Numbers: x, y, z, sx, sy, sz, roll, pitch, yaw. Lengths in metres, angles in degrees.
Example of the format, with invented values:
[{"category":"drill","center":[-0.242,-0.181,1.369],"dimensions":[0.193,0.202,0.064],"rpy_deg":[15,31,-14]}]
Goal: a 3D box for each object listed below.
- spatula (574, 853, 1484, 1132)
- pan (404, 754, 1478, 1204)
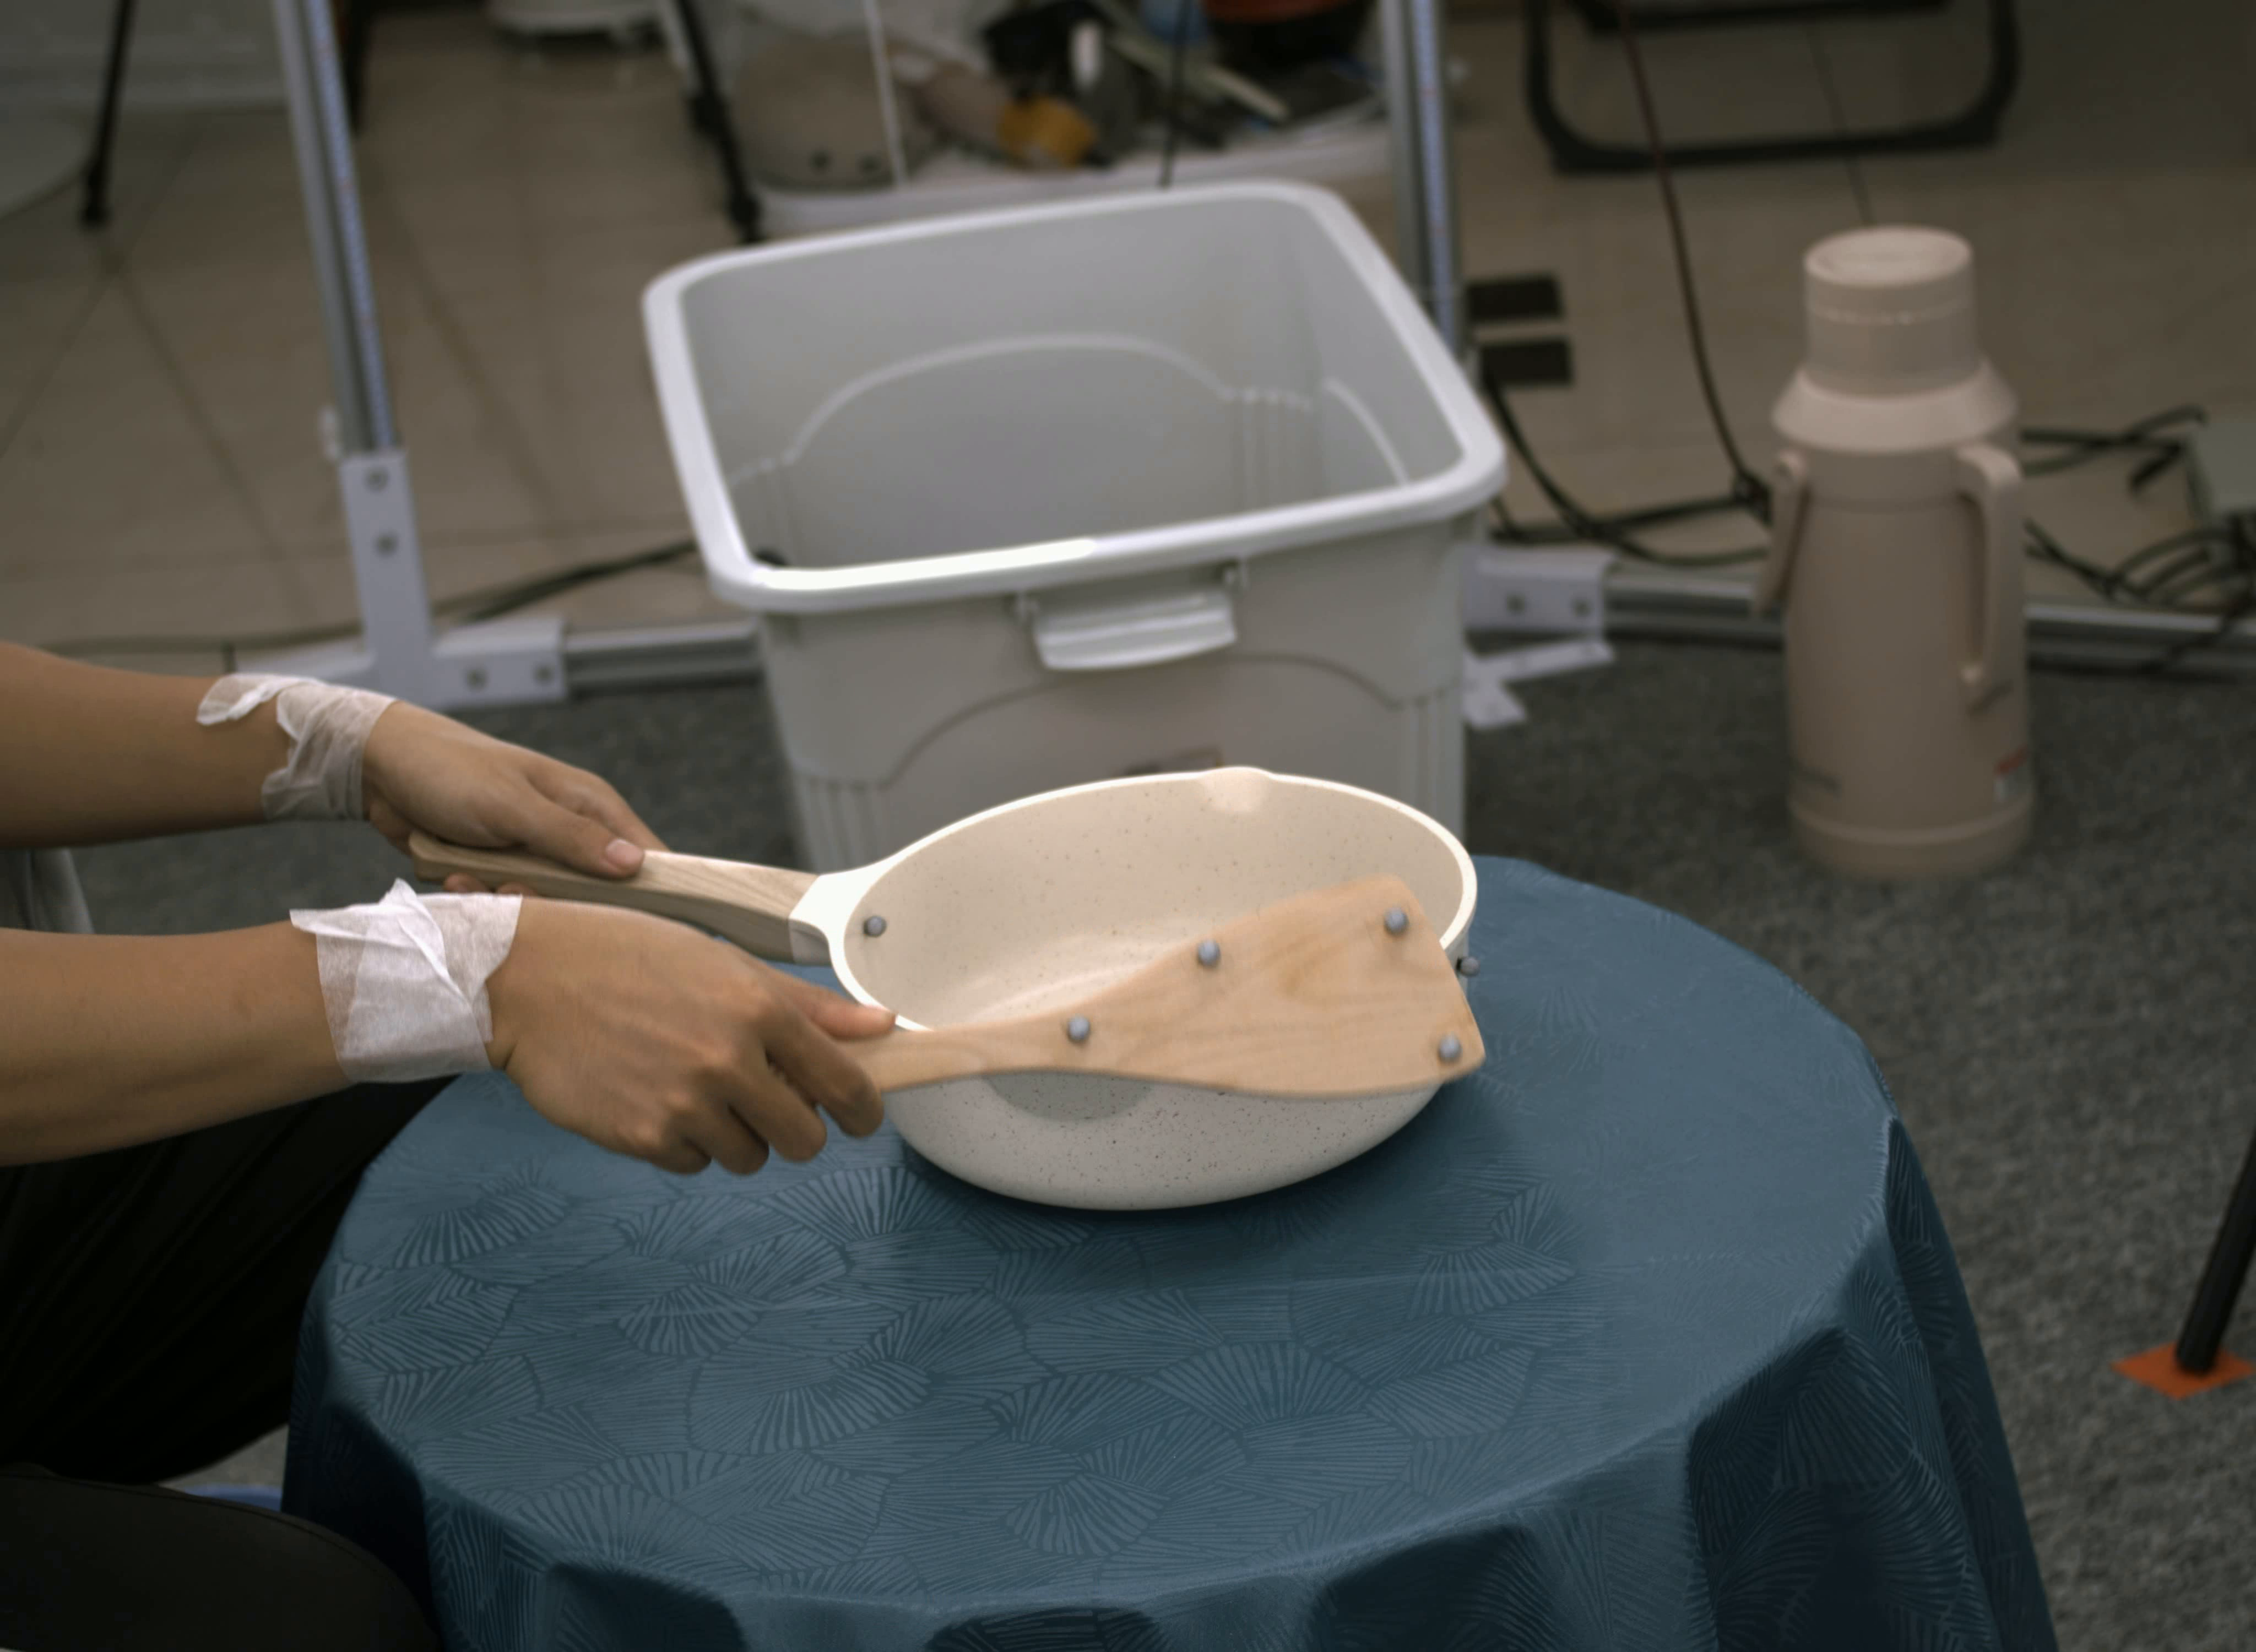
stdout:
[{"category":"spatula","center":[-0.035,0.068,1.992],"dimensions":[0.326,0.079,0.017],"rpy_deg":[-9,-16,-18]},{"category":"pan","center":[-0.075,0.055,2.229],"dimensions":[0.434,0.103,0.259],"rpy_deg":[2,28,17]}]
